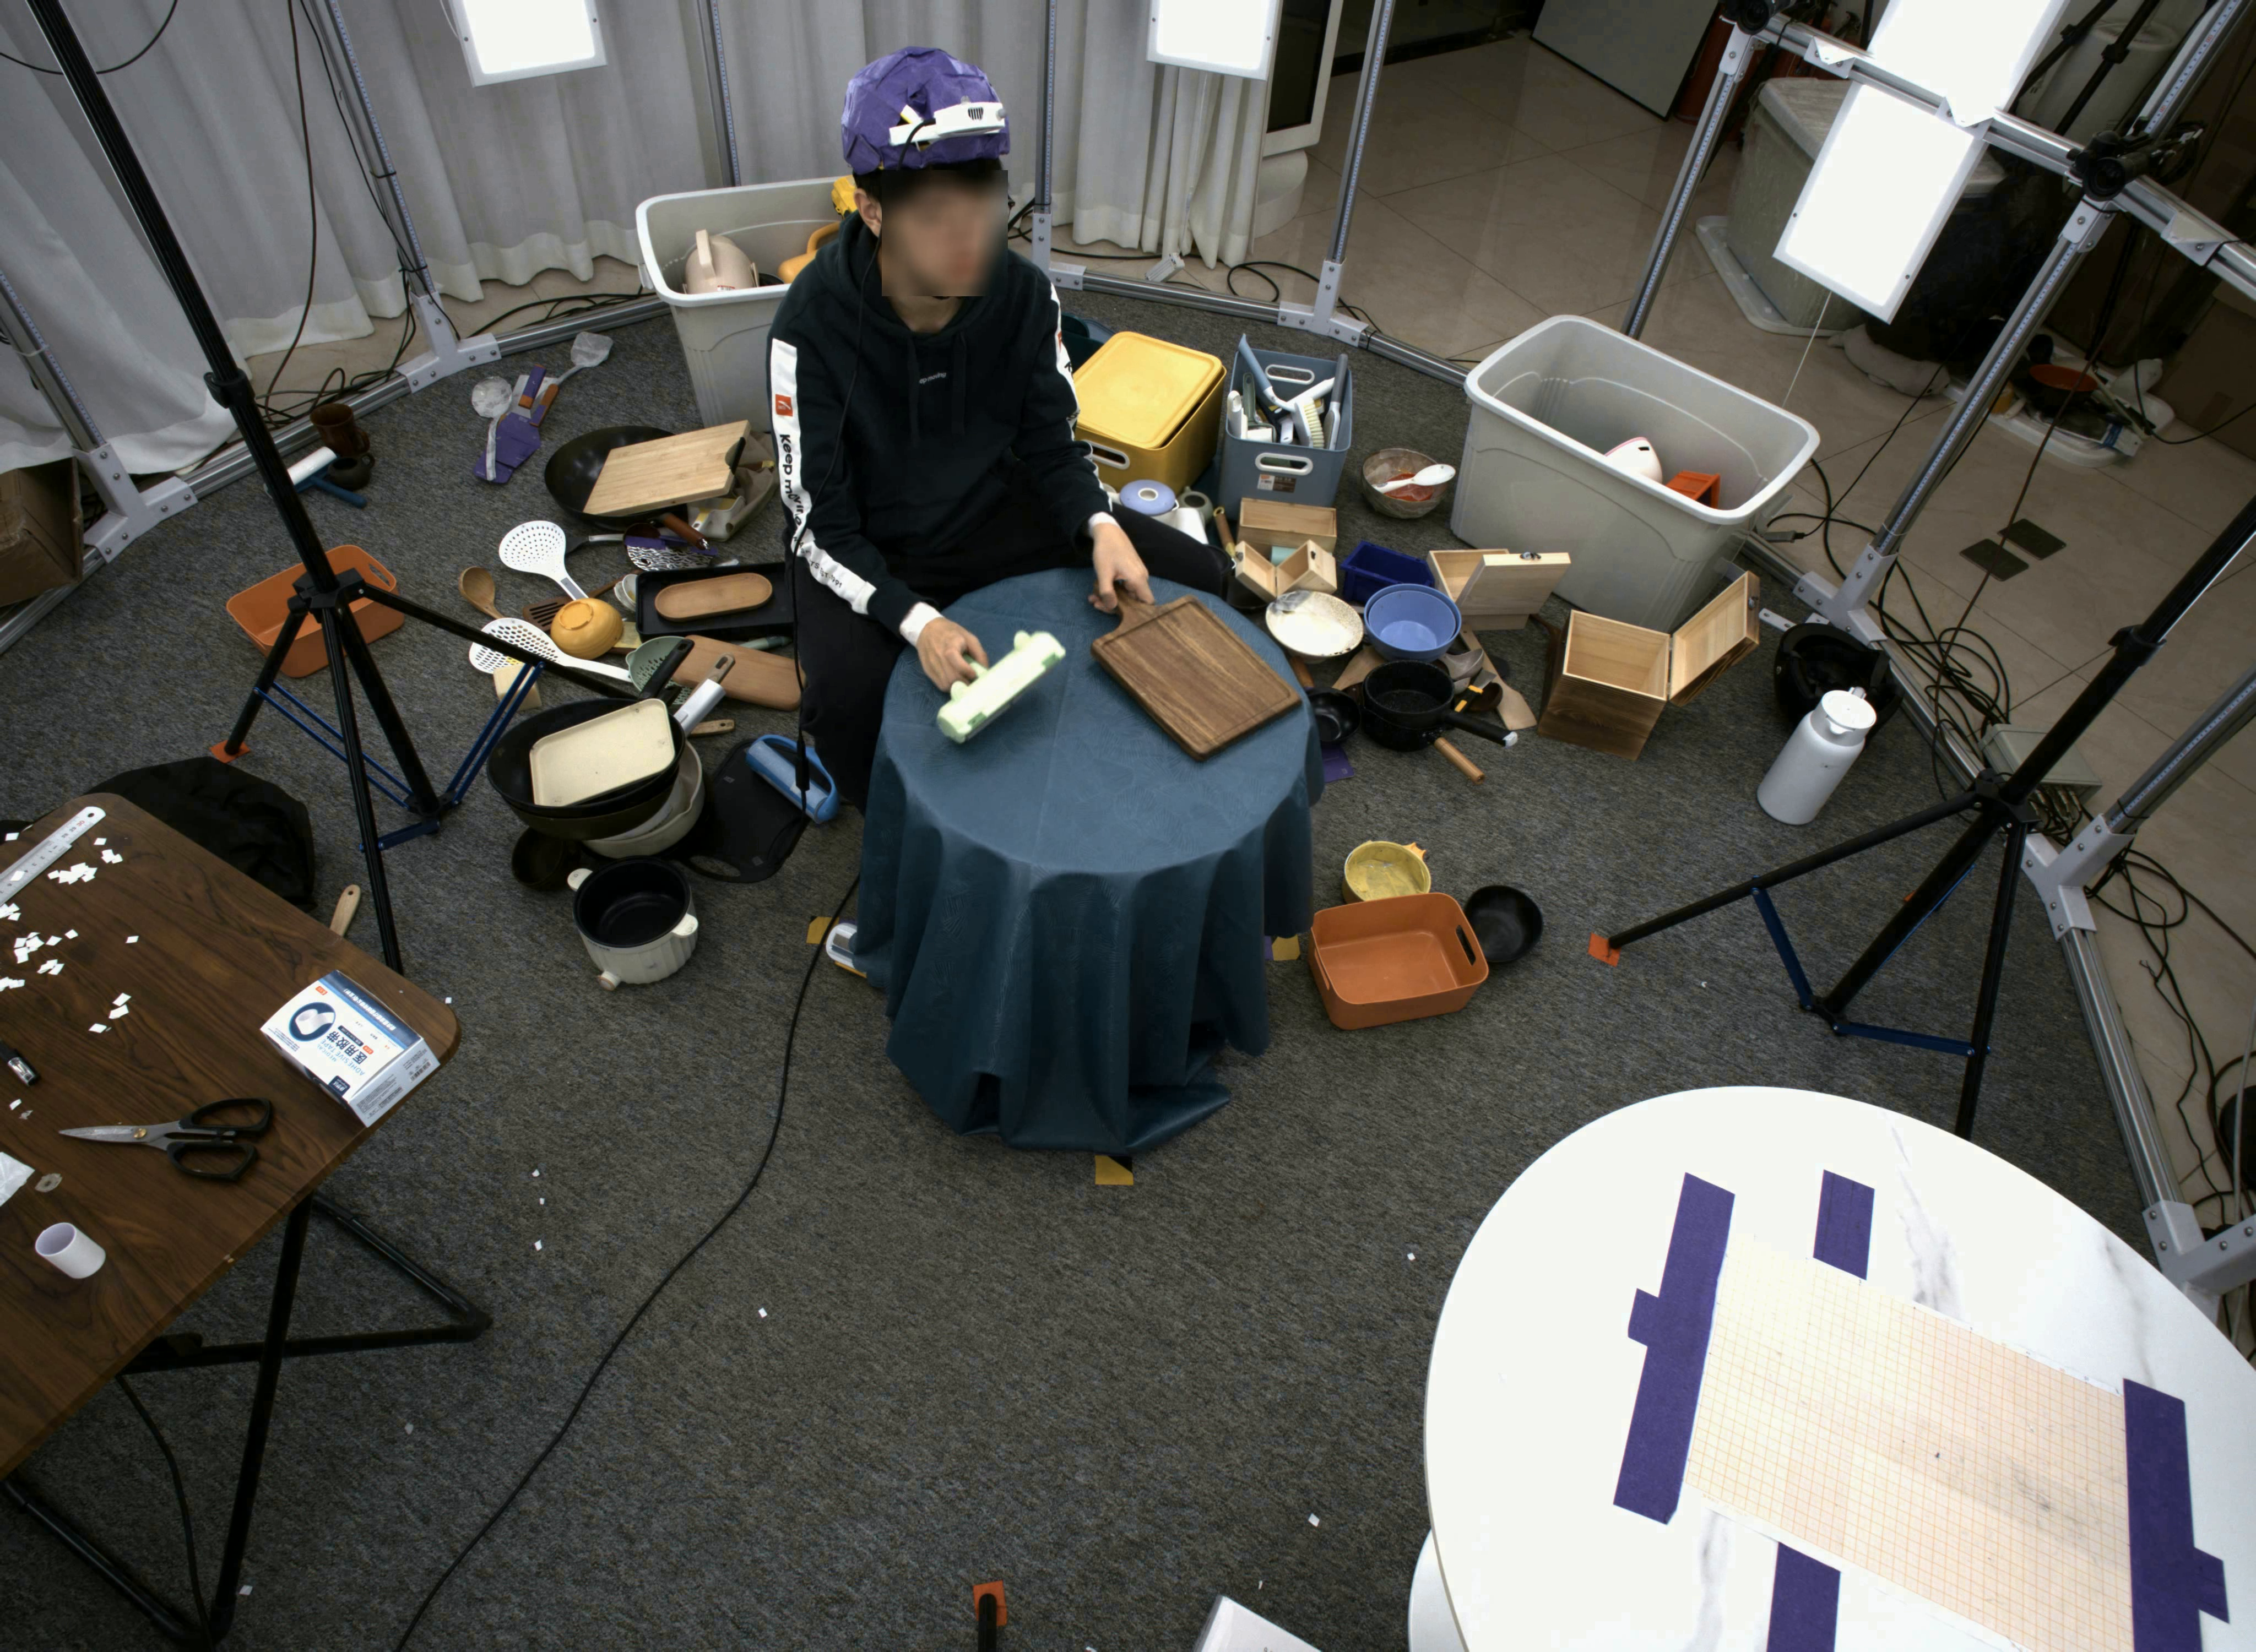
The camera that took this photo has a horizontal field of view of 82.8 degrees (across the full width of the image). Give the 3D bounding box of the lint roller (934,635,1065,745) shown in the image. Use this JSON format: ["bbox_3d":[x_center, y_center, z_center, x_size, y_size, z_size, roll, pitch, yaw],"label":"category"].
[{"bbox_3d":[-0.213,-0.217,1.770,0.200,0.080,0.186,-41,55,-22],"label":"lint roller"}]

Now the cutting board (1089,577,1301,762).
[{"bbox_3d":[0.064,-0.251,1.860,0.202,0.022,0.358,-30,61,-26],"label":"cutting board"}]
